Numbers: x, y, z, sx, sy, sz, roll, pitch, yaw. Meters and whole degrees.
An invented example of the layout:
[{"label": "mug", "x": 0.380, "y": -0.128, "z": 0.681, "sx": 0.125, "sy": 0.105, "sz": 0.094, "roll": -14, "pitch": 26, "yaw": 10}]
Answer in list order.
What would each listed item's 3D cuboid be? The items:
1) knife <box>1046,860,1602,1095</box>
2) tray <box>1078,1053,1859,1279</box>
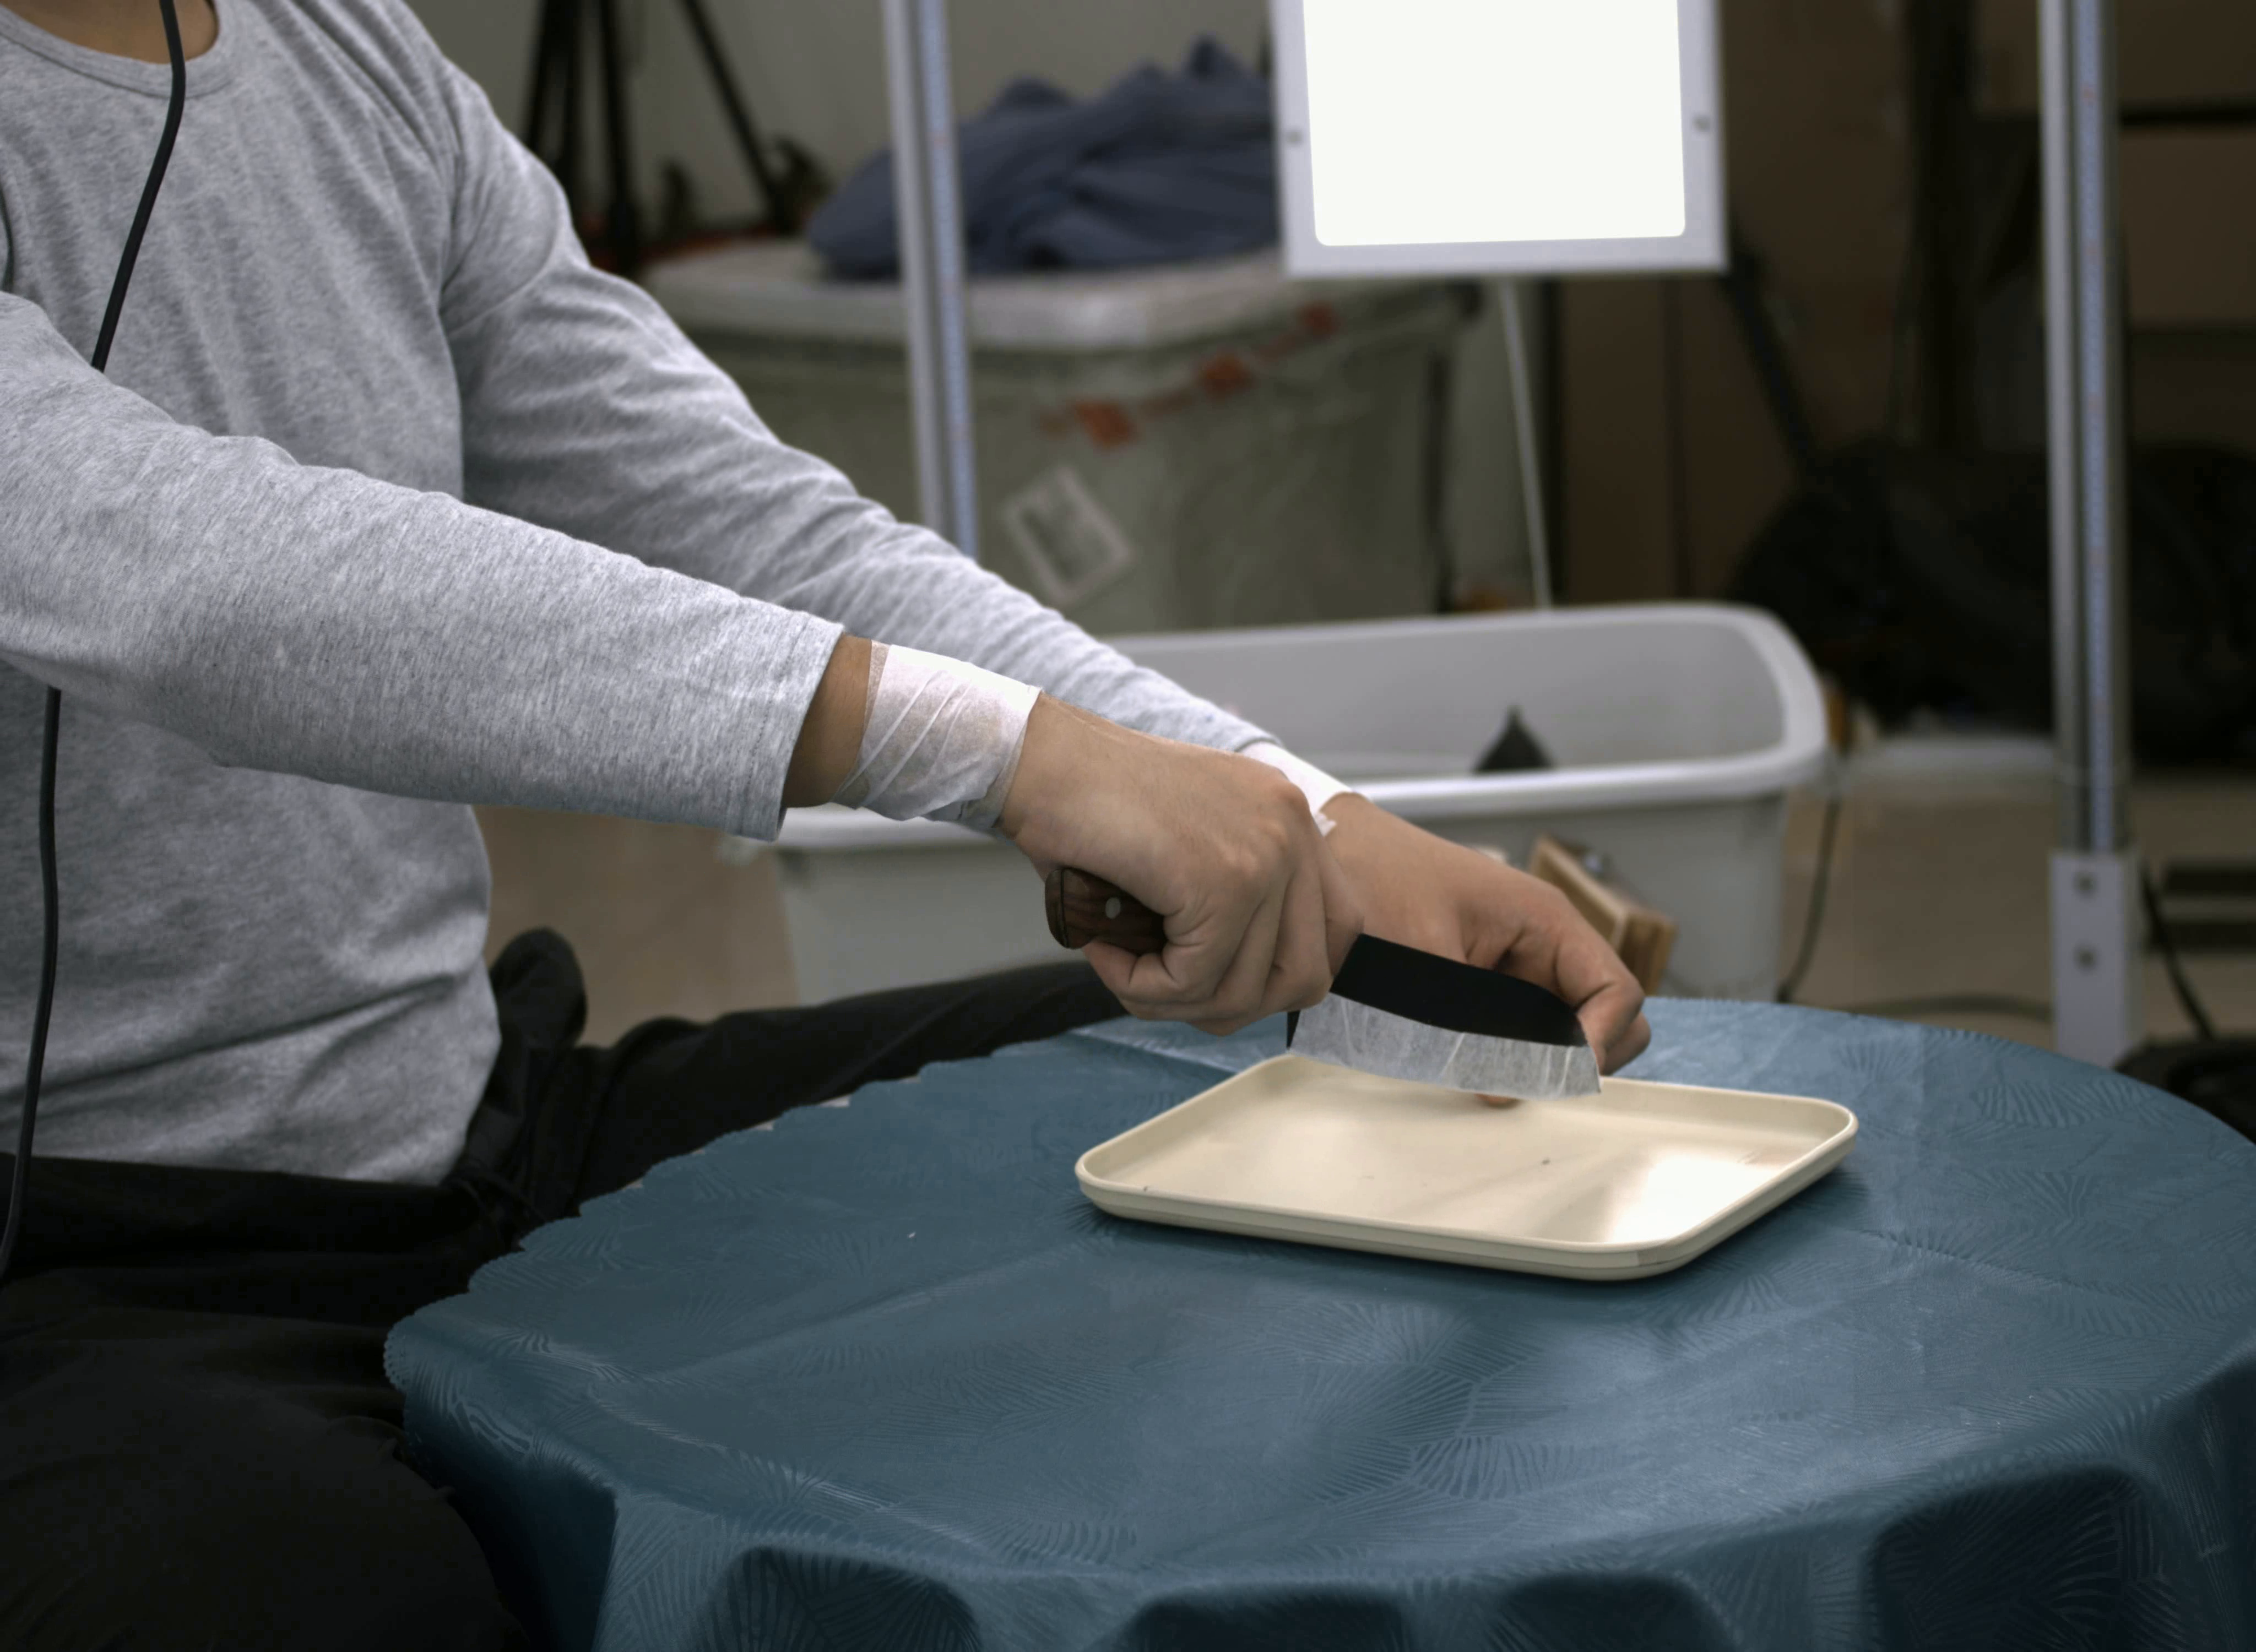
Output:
[{"label": "knife", "x": 0.071, "y": 0.052, "z": 1.788, "sx": 0.020, "sy": 0.050, "sz": 0.282, "roll": 15, "pitch": -3, "yaw": 44}, {"label": "tray", "x": 0.116, "y": 0.115, "z": 1.872, "sx": 0.244, "sy": 0.017, "sz": 0.167, "roll": 5, "pitch": 16, "yaw": 36}]
